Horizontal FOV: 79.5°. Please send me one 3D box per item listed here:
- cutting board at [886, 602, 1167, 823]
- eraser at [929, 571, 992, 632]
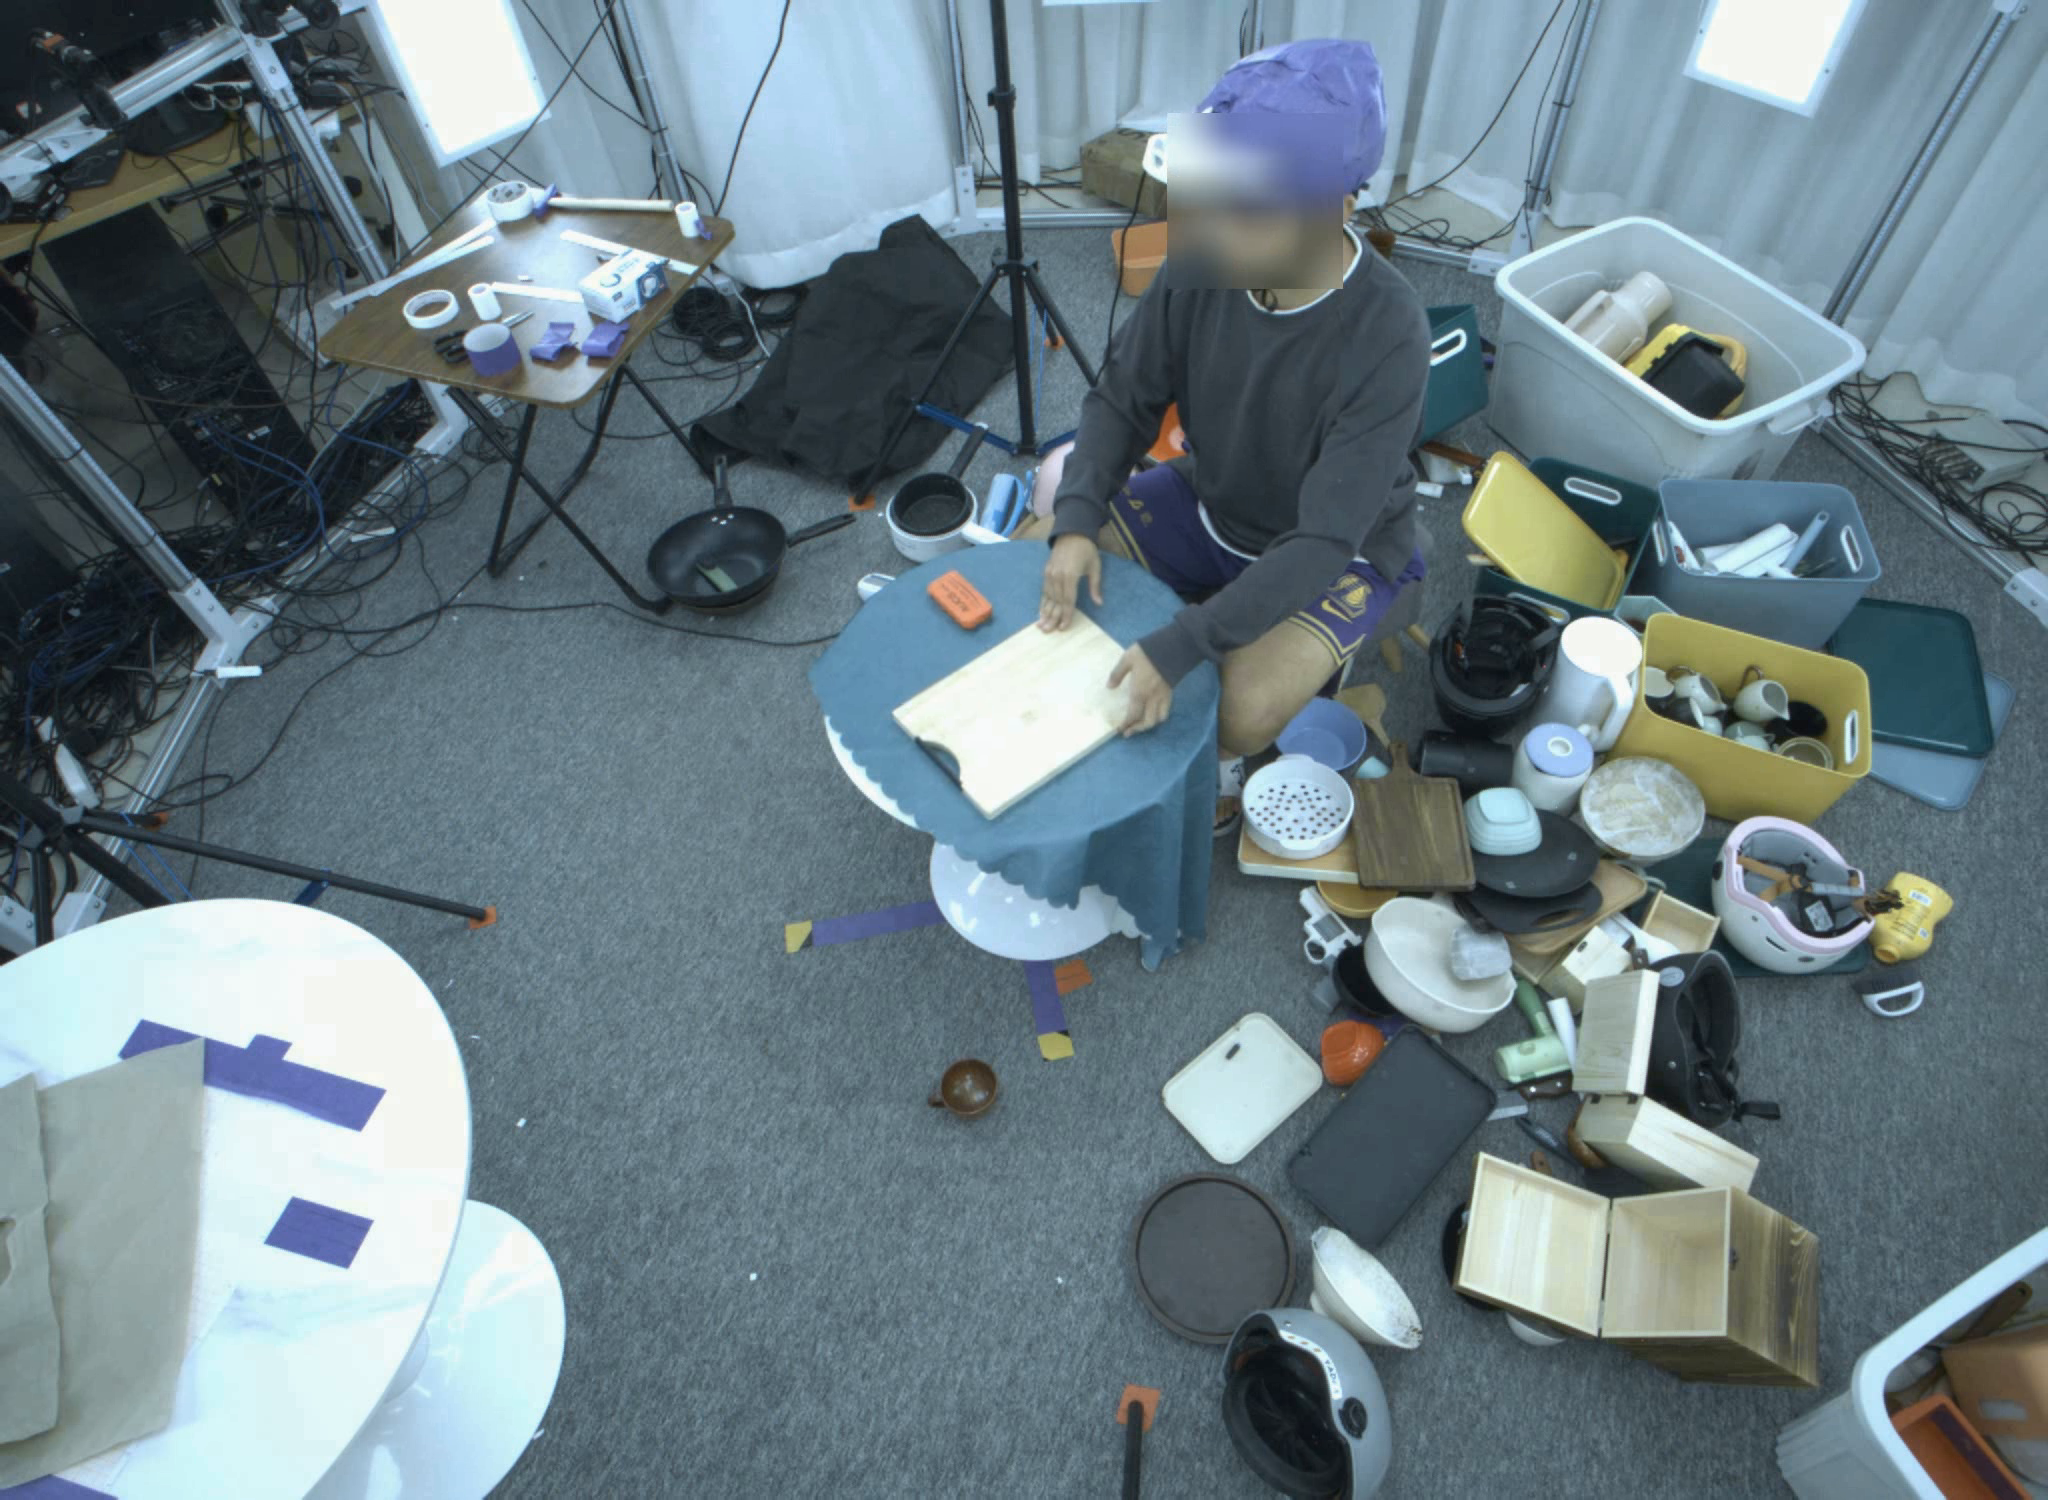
[{"bbox_3d":[0.007,-0.064,1.825,0.351,0.024,0.246,-35,60,-20],"label":"cutting board"},{"bbox_3d":[-0.101,-0.237,1.947,0.059,0.023,0.106,-33,61,-19],"label":"eraser"}]
